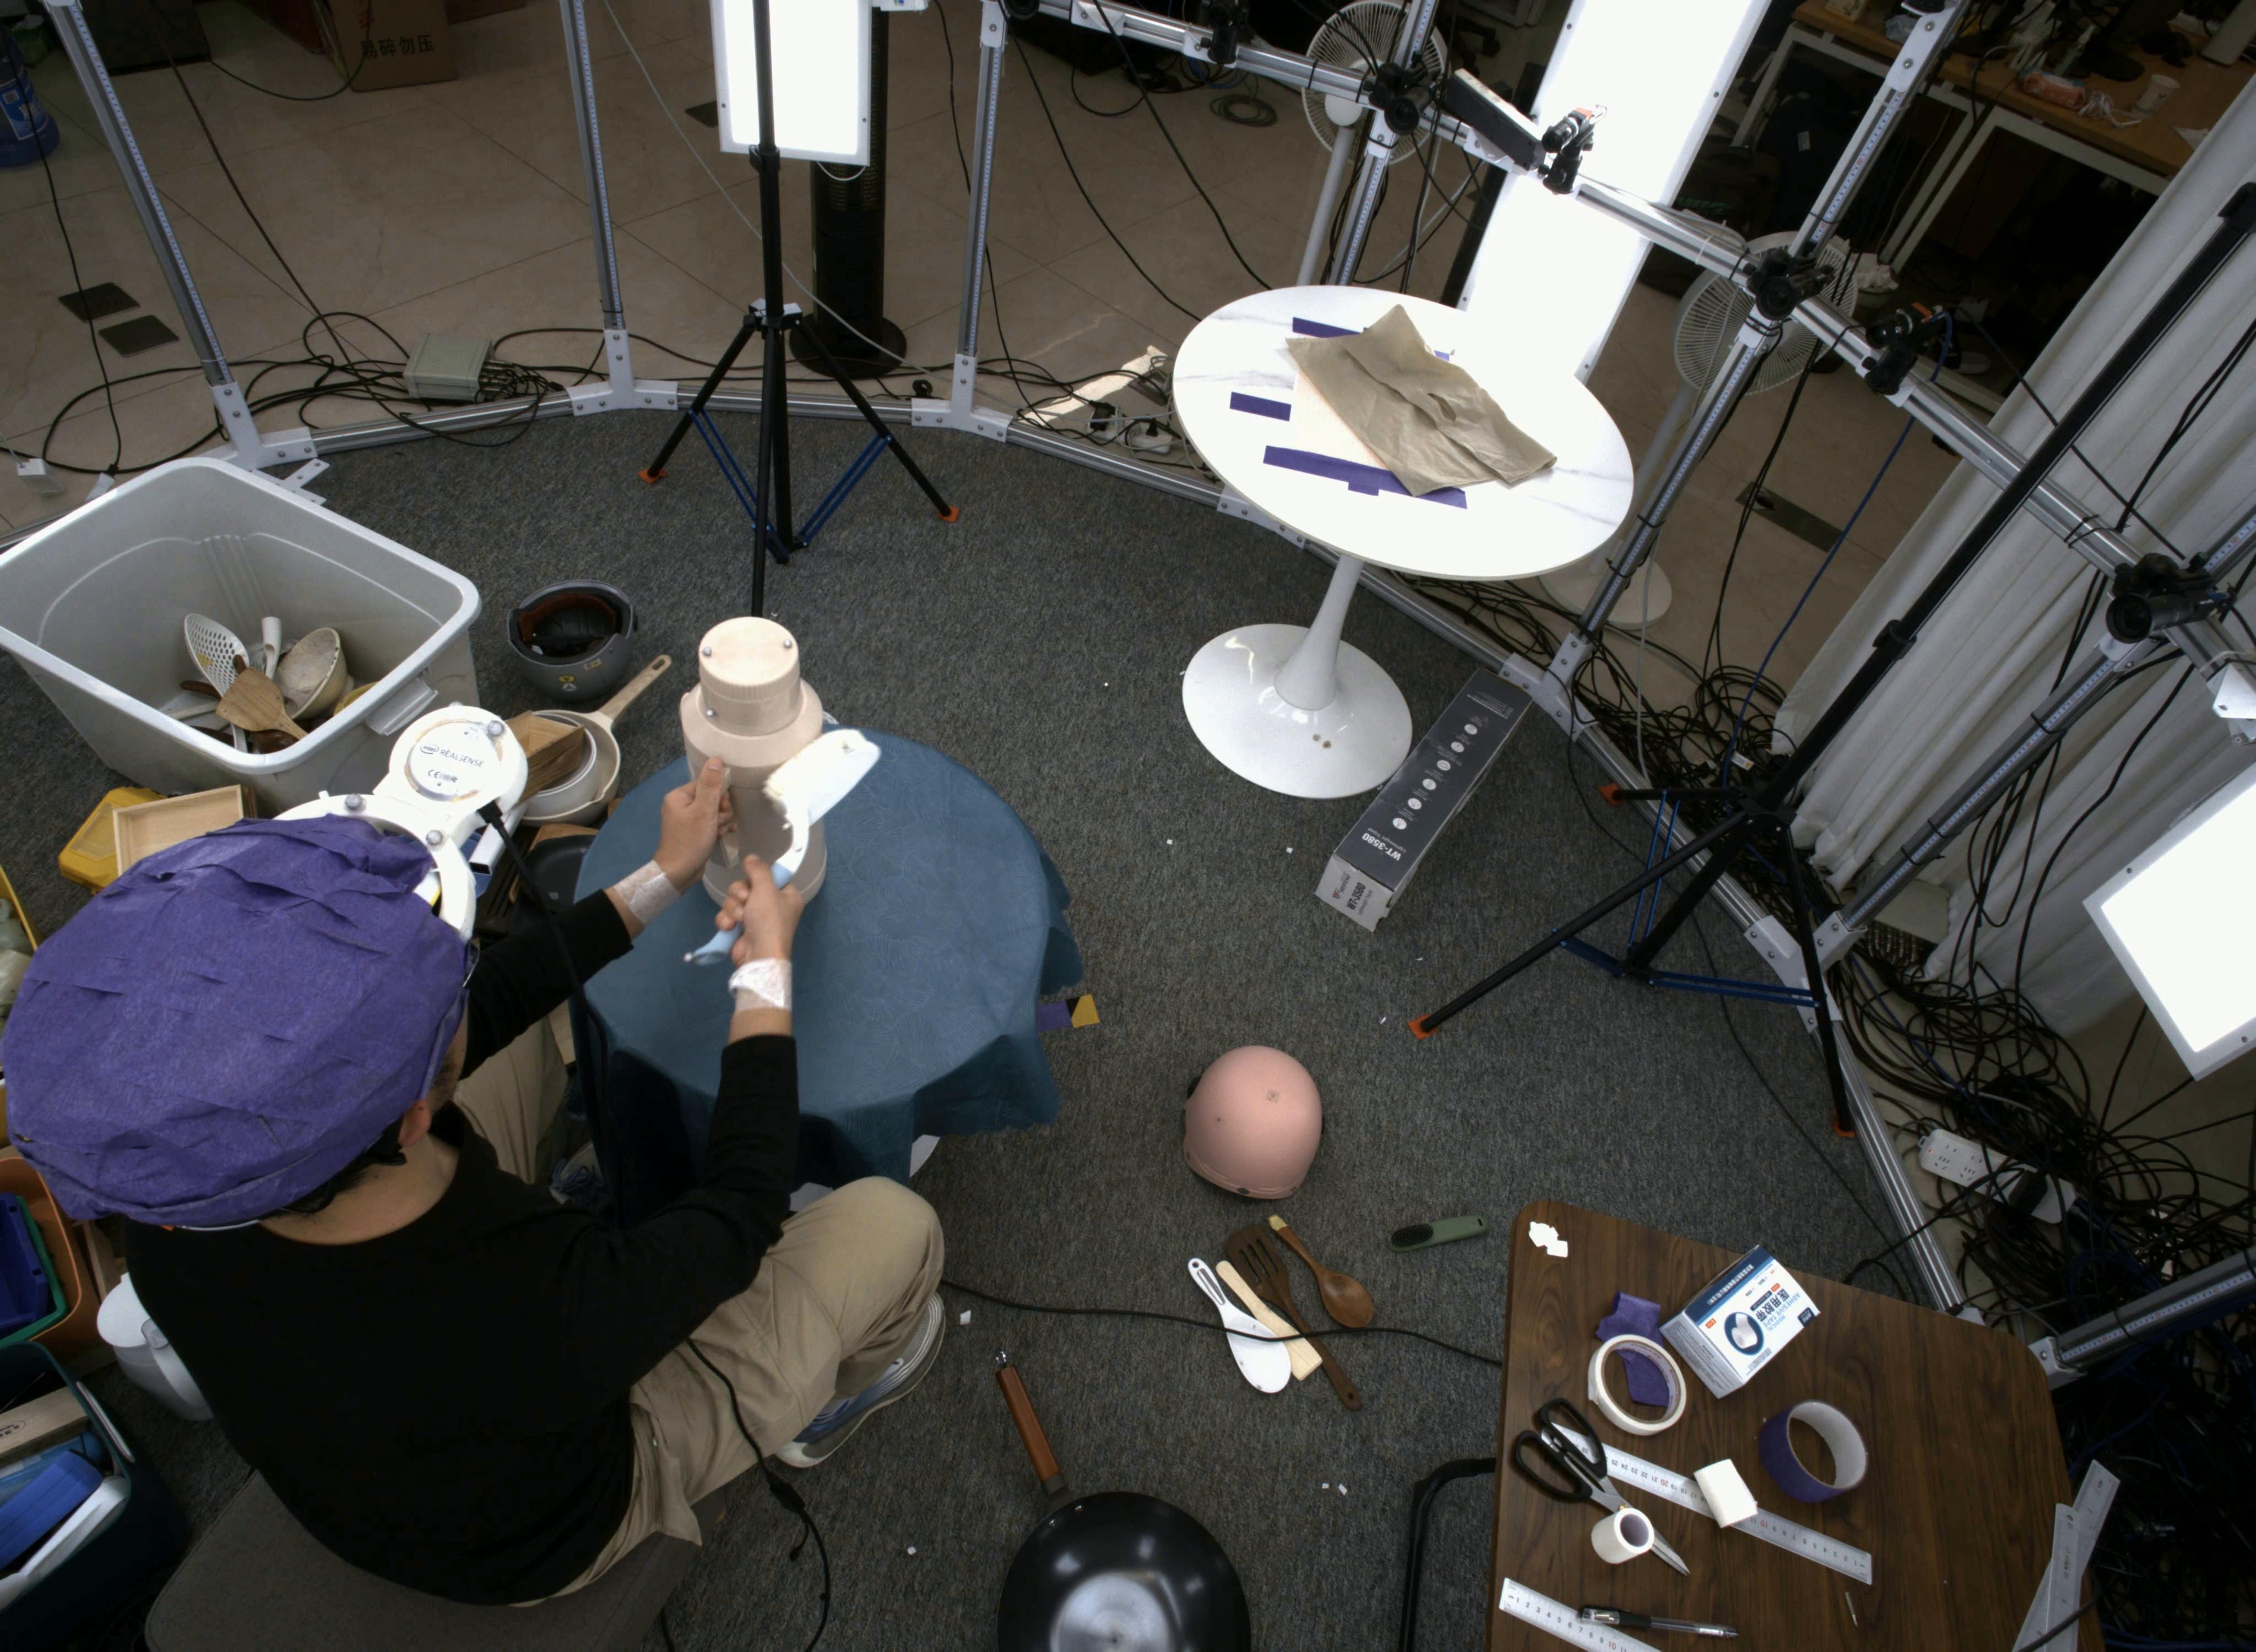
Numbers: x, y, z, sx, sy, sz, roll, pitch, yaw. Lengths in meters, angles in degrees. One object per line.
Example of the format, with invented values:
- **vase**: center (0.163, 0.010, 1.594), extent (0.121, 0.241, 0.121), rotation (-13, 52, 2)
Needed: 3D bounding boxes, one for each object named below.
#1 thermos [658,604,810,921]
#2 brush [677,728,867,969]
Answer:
- **thermos**: center (-0.461, -0.059, 1.496), extent (0.174, 0.414, 0.204), rotation (18, 50, 1)
- **brush**: center (-0.400, 0.009, 1.381), extent (0.086, 0.082, 0.324), rotation (49, 56, -26)
